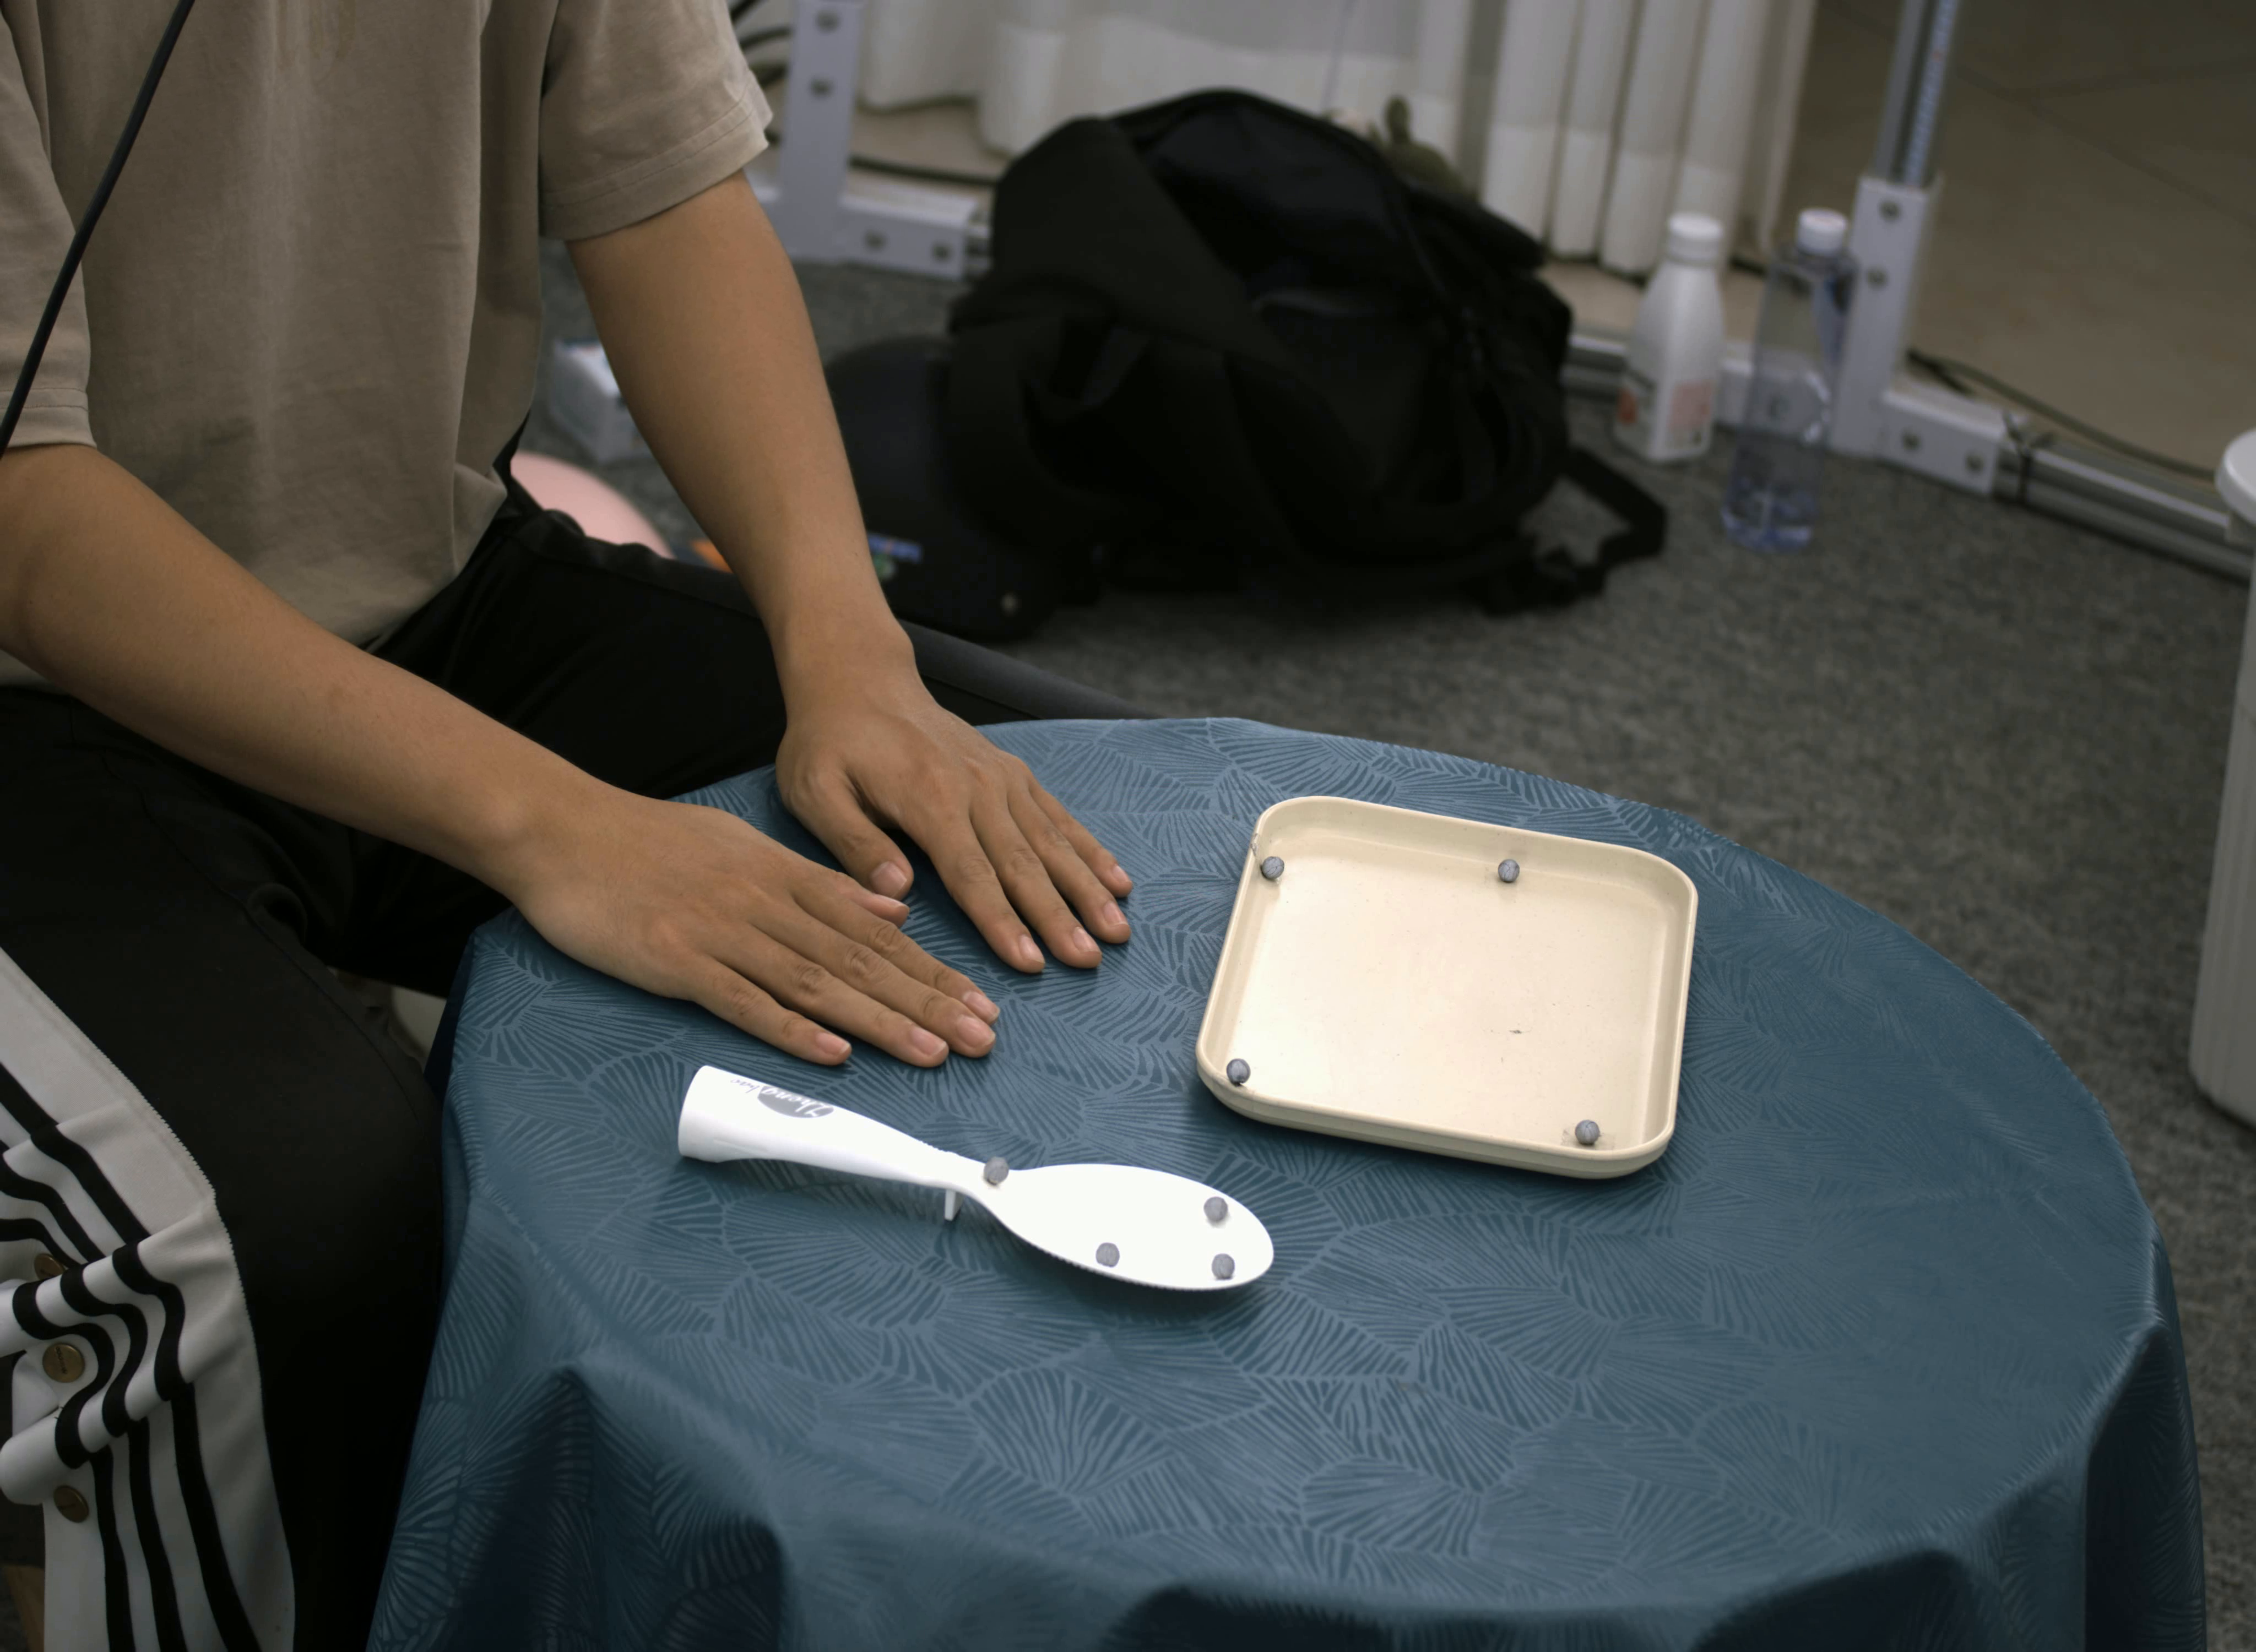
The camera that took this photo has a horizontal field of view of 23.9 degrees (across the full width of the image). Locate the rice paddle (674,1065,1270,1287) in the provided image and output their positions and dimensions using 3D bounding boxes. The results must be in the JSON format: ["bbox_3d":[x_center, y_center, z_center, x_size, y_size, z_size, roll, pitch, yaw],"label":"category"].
[{"bbox_3d":[-0.051,0.117,1.771,0.205,0.029,0.069,13,29,12],"label":"rice paddle"}]

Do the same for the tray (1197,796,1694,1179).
[{"bbox_3d":[0.118,0.058,1.942,0.171,0.017,0.240,10,27,4],"label":"tray"}]
